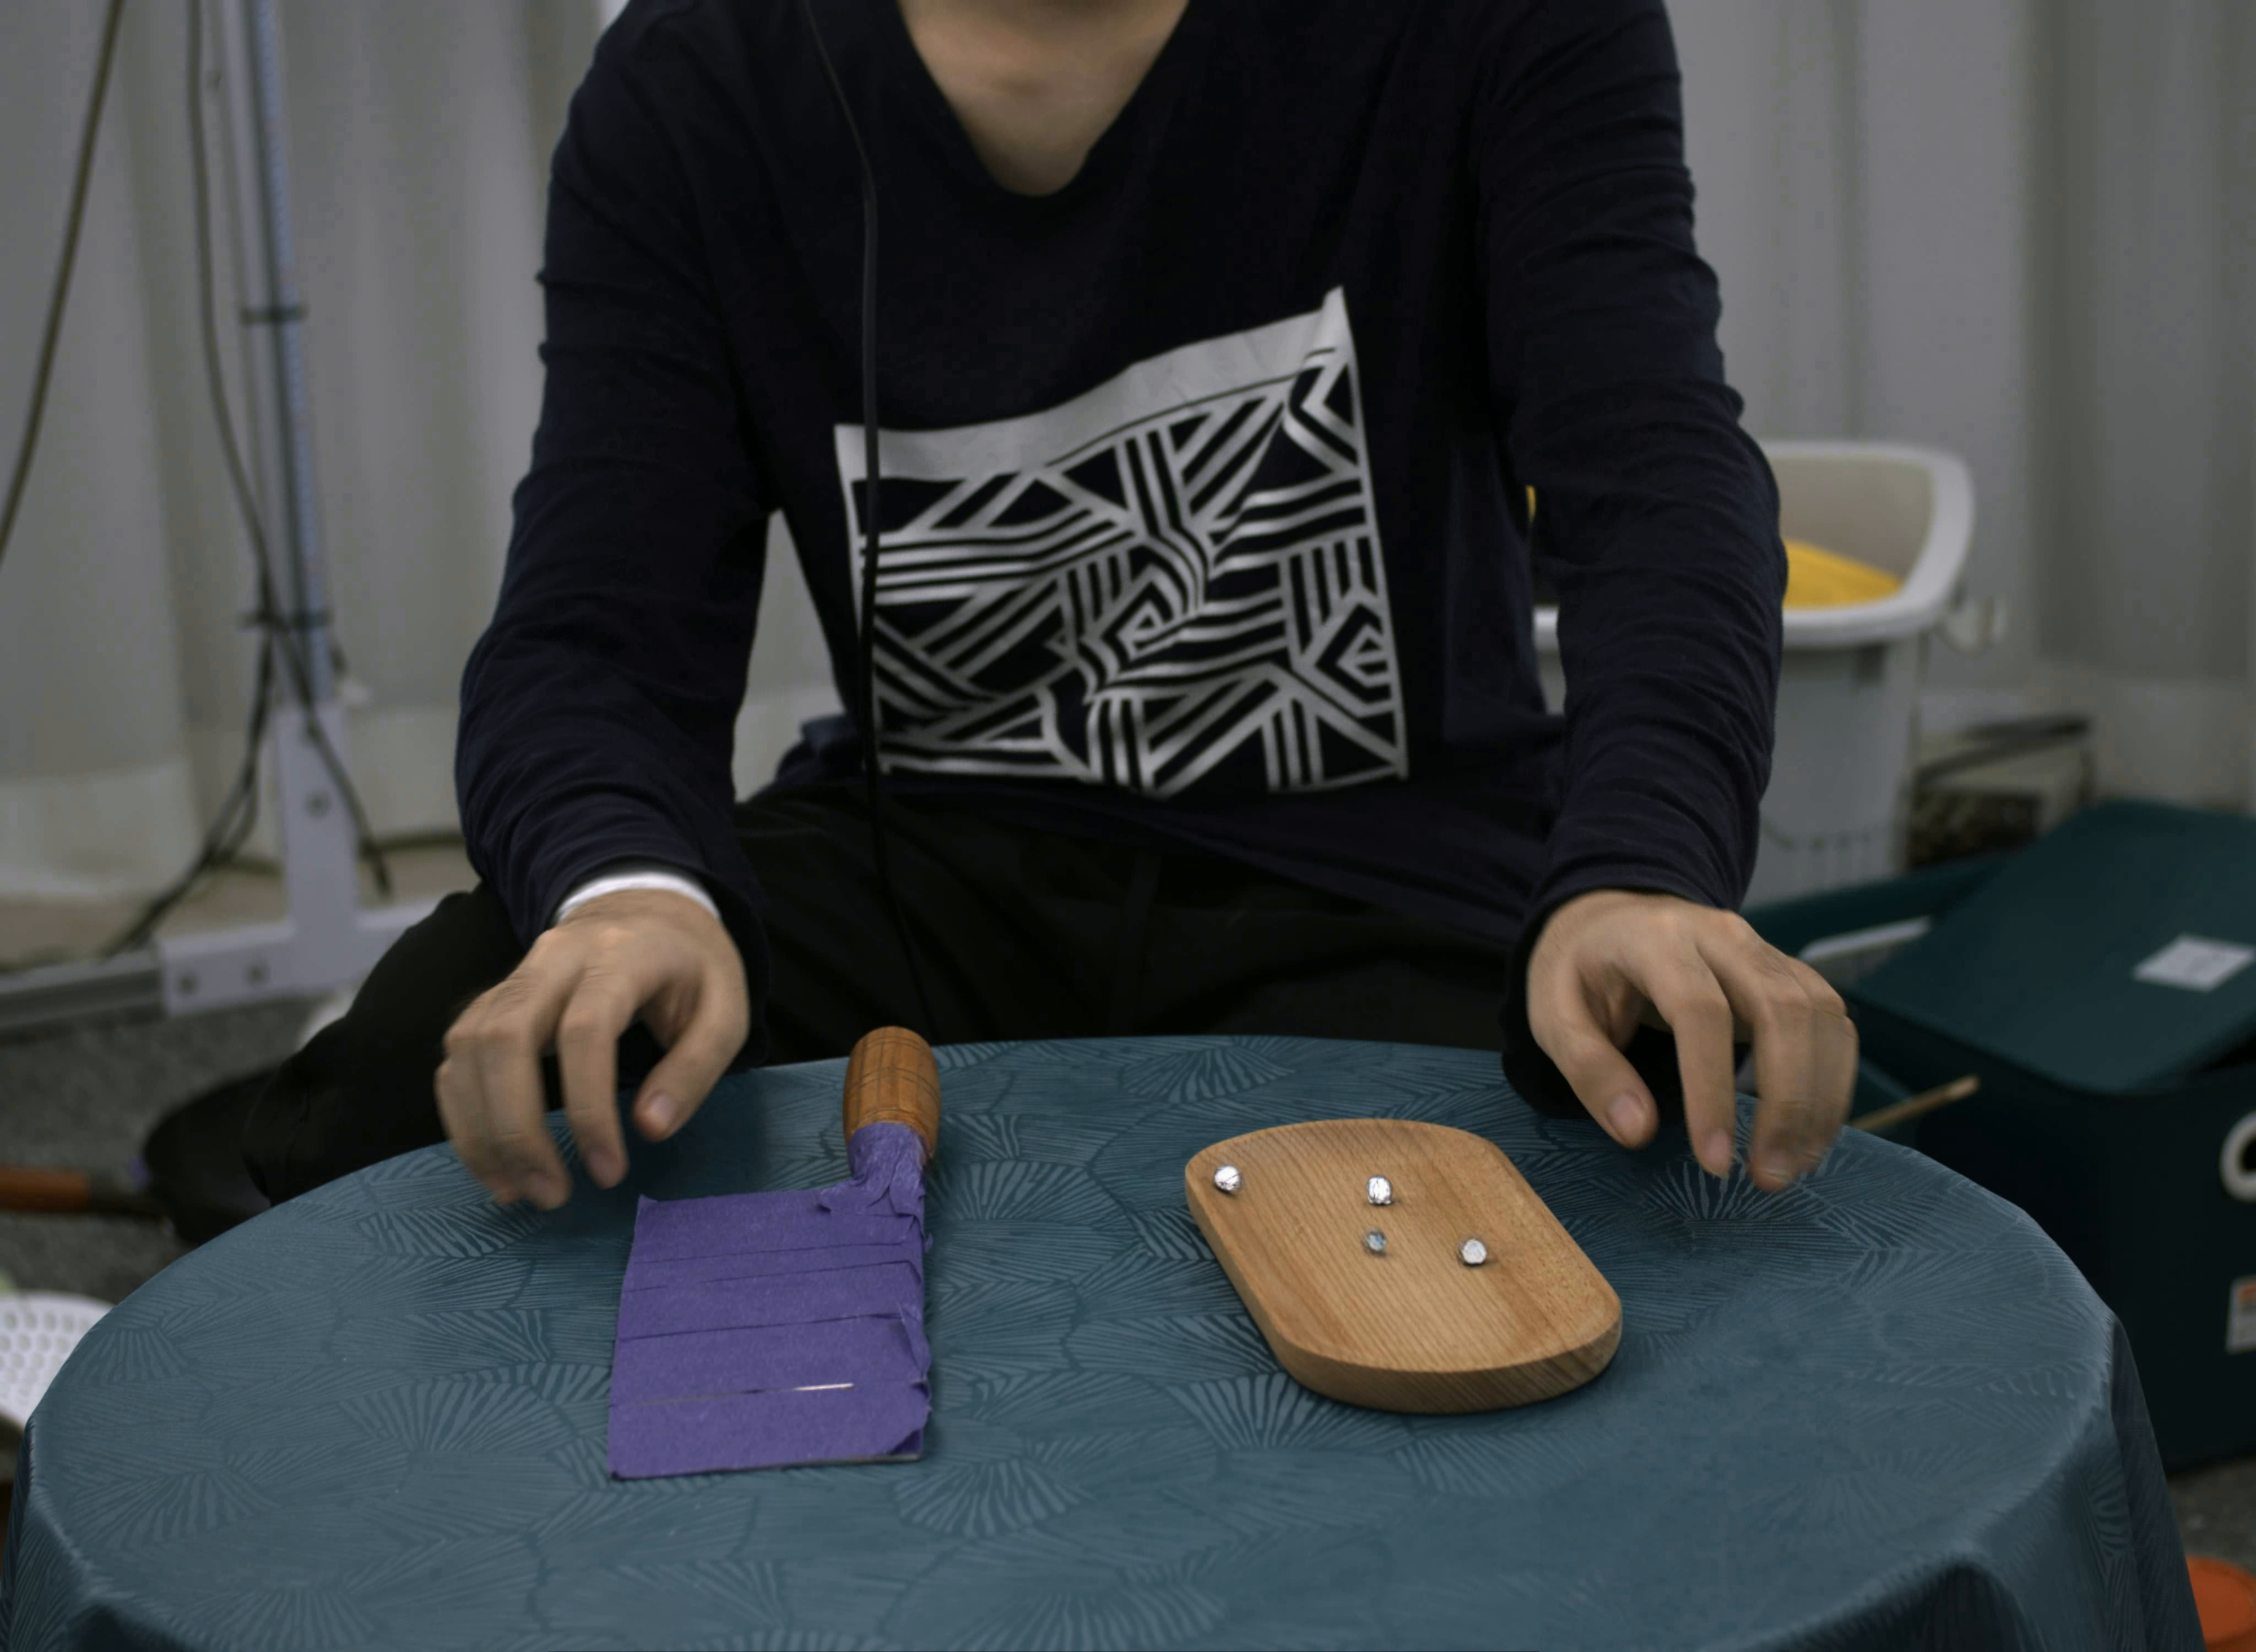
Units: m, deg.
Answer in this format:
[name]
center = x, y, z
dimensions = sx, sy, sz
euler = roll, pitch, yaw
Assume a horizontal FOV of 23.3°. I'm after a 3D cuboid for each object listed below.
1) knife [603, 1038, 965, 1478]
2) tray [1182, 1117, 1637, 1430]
[knife]
center = -0.104, 0.126, 1.644
dimensions = 0.103, 0.032, 0.317
euler = -3, 15, -2
[tray]
center = 0.081, 0.130, 1.616
dimensions = 0.101, 0.020, 0.233
euler = -7, 18, -10
